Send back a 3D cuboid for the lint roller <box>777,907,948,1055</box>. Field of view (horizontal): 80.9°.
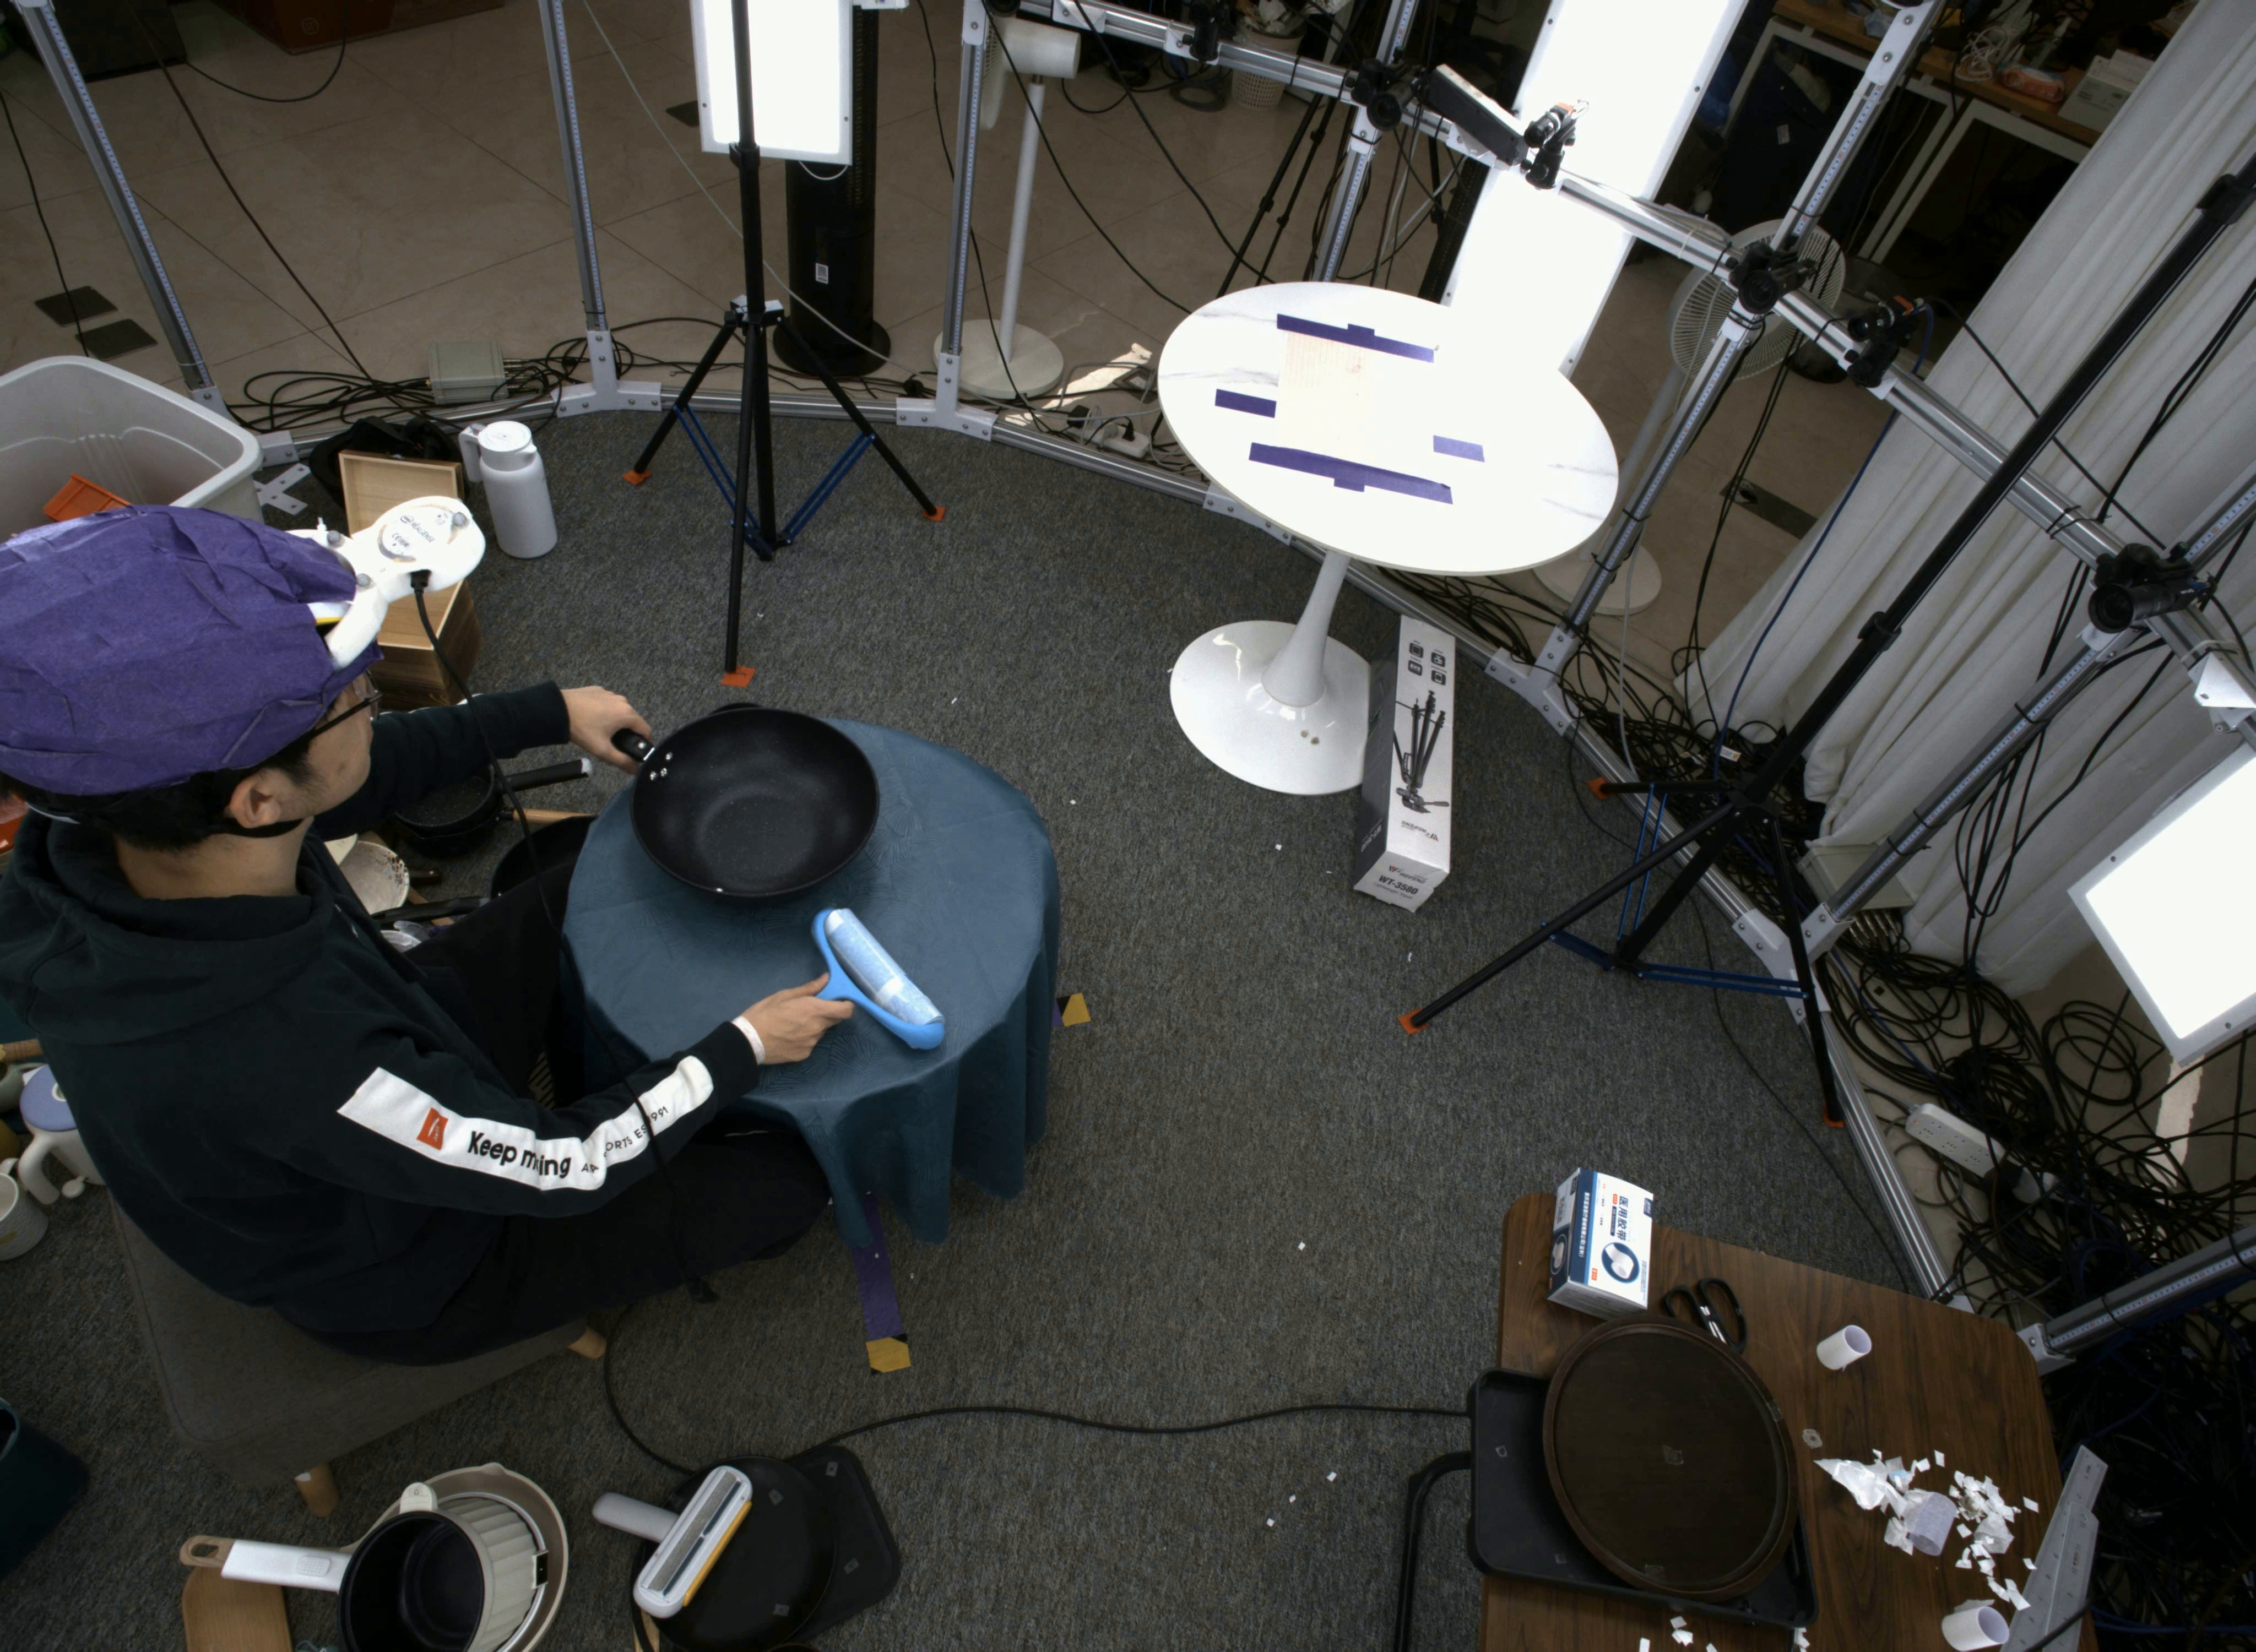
[{"bbox_3d":[-0.341,0.207,1.558,0.225,0.069,0.181,43,50,14],"label":"lint roller"}]

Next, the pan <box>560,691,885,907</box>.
[{"bbox_3d":[-0.545,-0.049,1.666,0.471,0.114,0.307,23,50,3],"label":"pan"}]
